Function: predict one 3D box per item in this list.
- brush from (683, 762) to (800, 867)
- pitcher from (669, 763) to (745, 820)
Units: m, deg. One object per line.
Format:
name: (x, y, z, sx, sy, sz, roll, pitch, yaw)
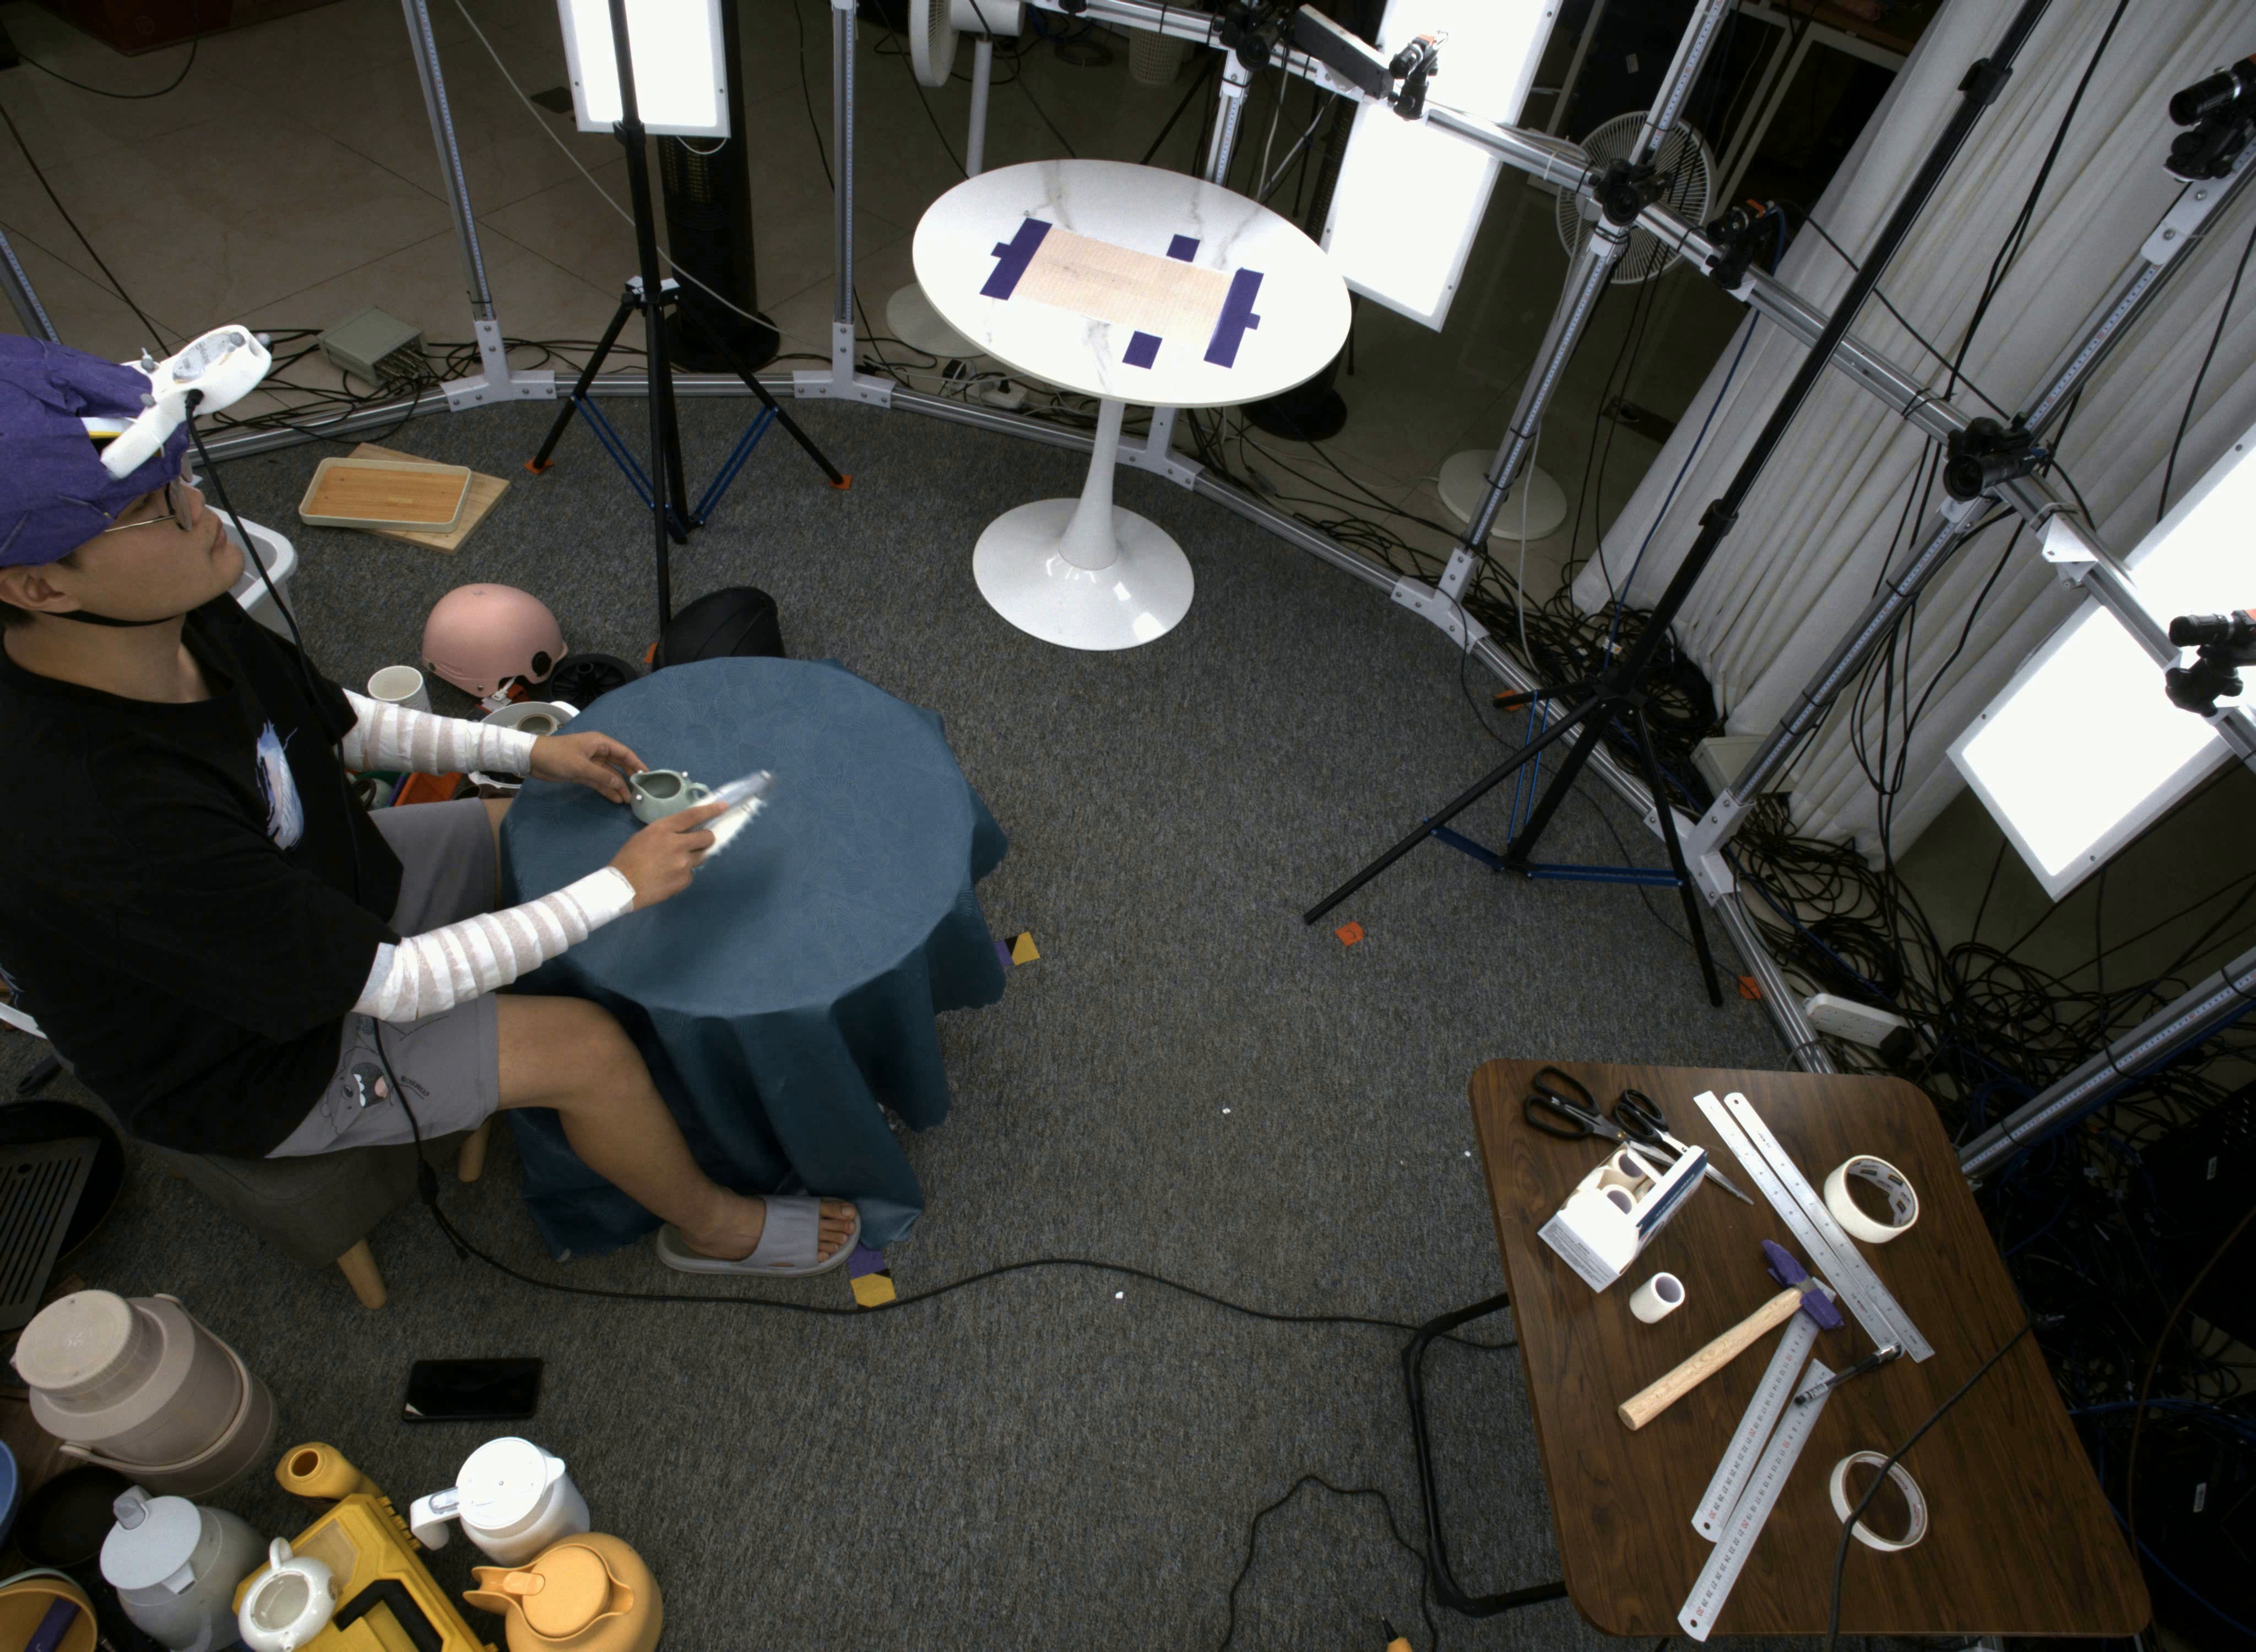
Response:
brush: (-0.472, -0.025, 1.596, 0.175, 0.093, 0.062, -42, 98, -12)
pitcher: (-0.551, -0.048, 1.702, 0.108, 0.061, 0.084, 9, 52, -9)
